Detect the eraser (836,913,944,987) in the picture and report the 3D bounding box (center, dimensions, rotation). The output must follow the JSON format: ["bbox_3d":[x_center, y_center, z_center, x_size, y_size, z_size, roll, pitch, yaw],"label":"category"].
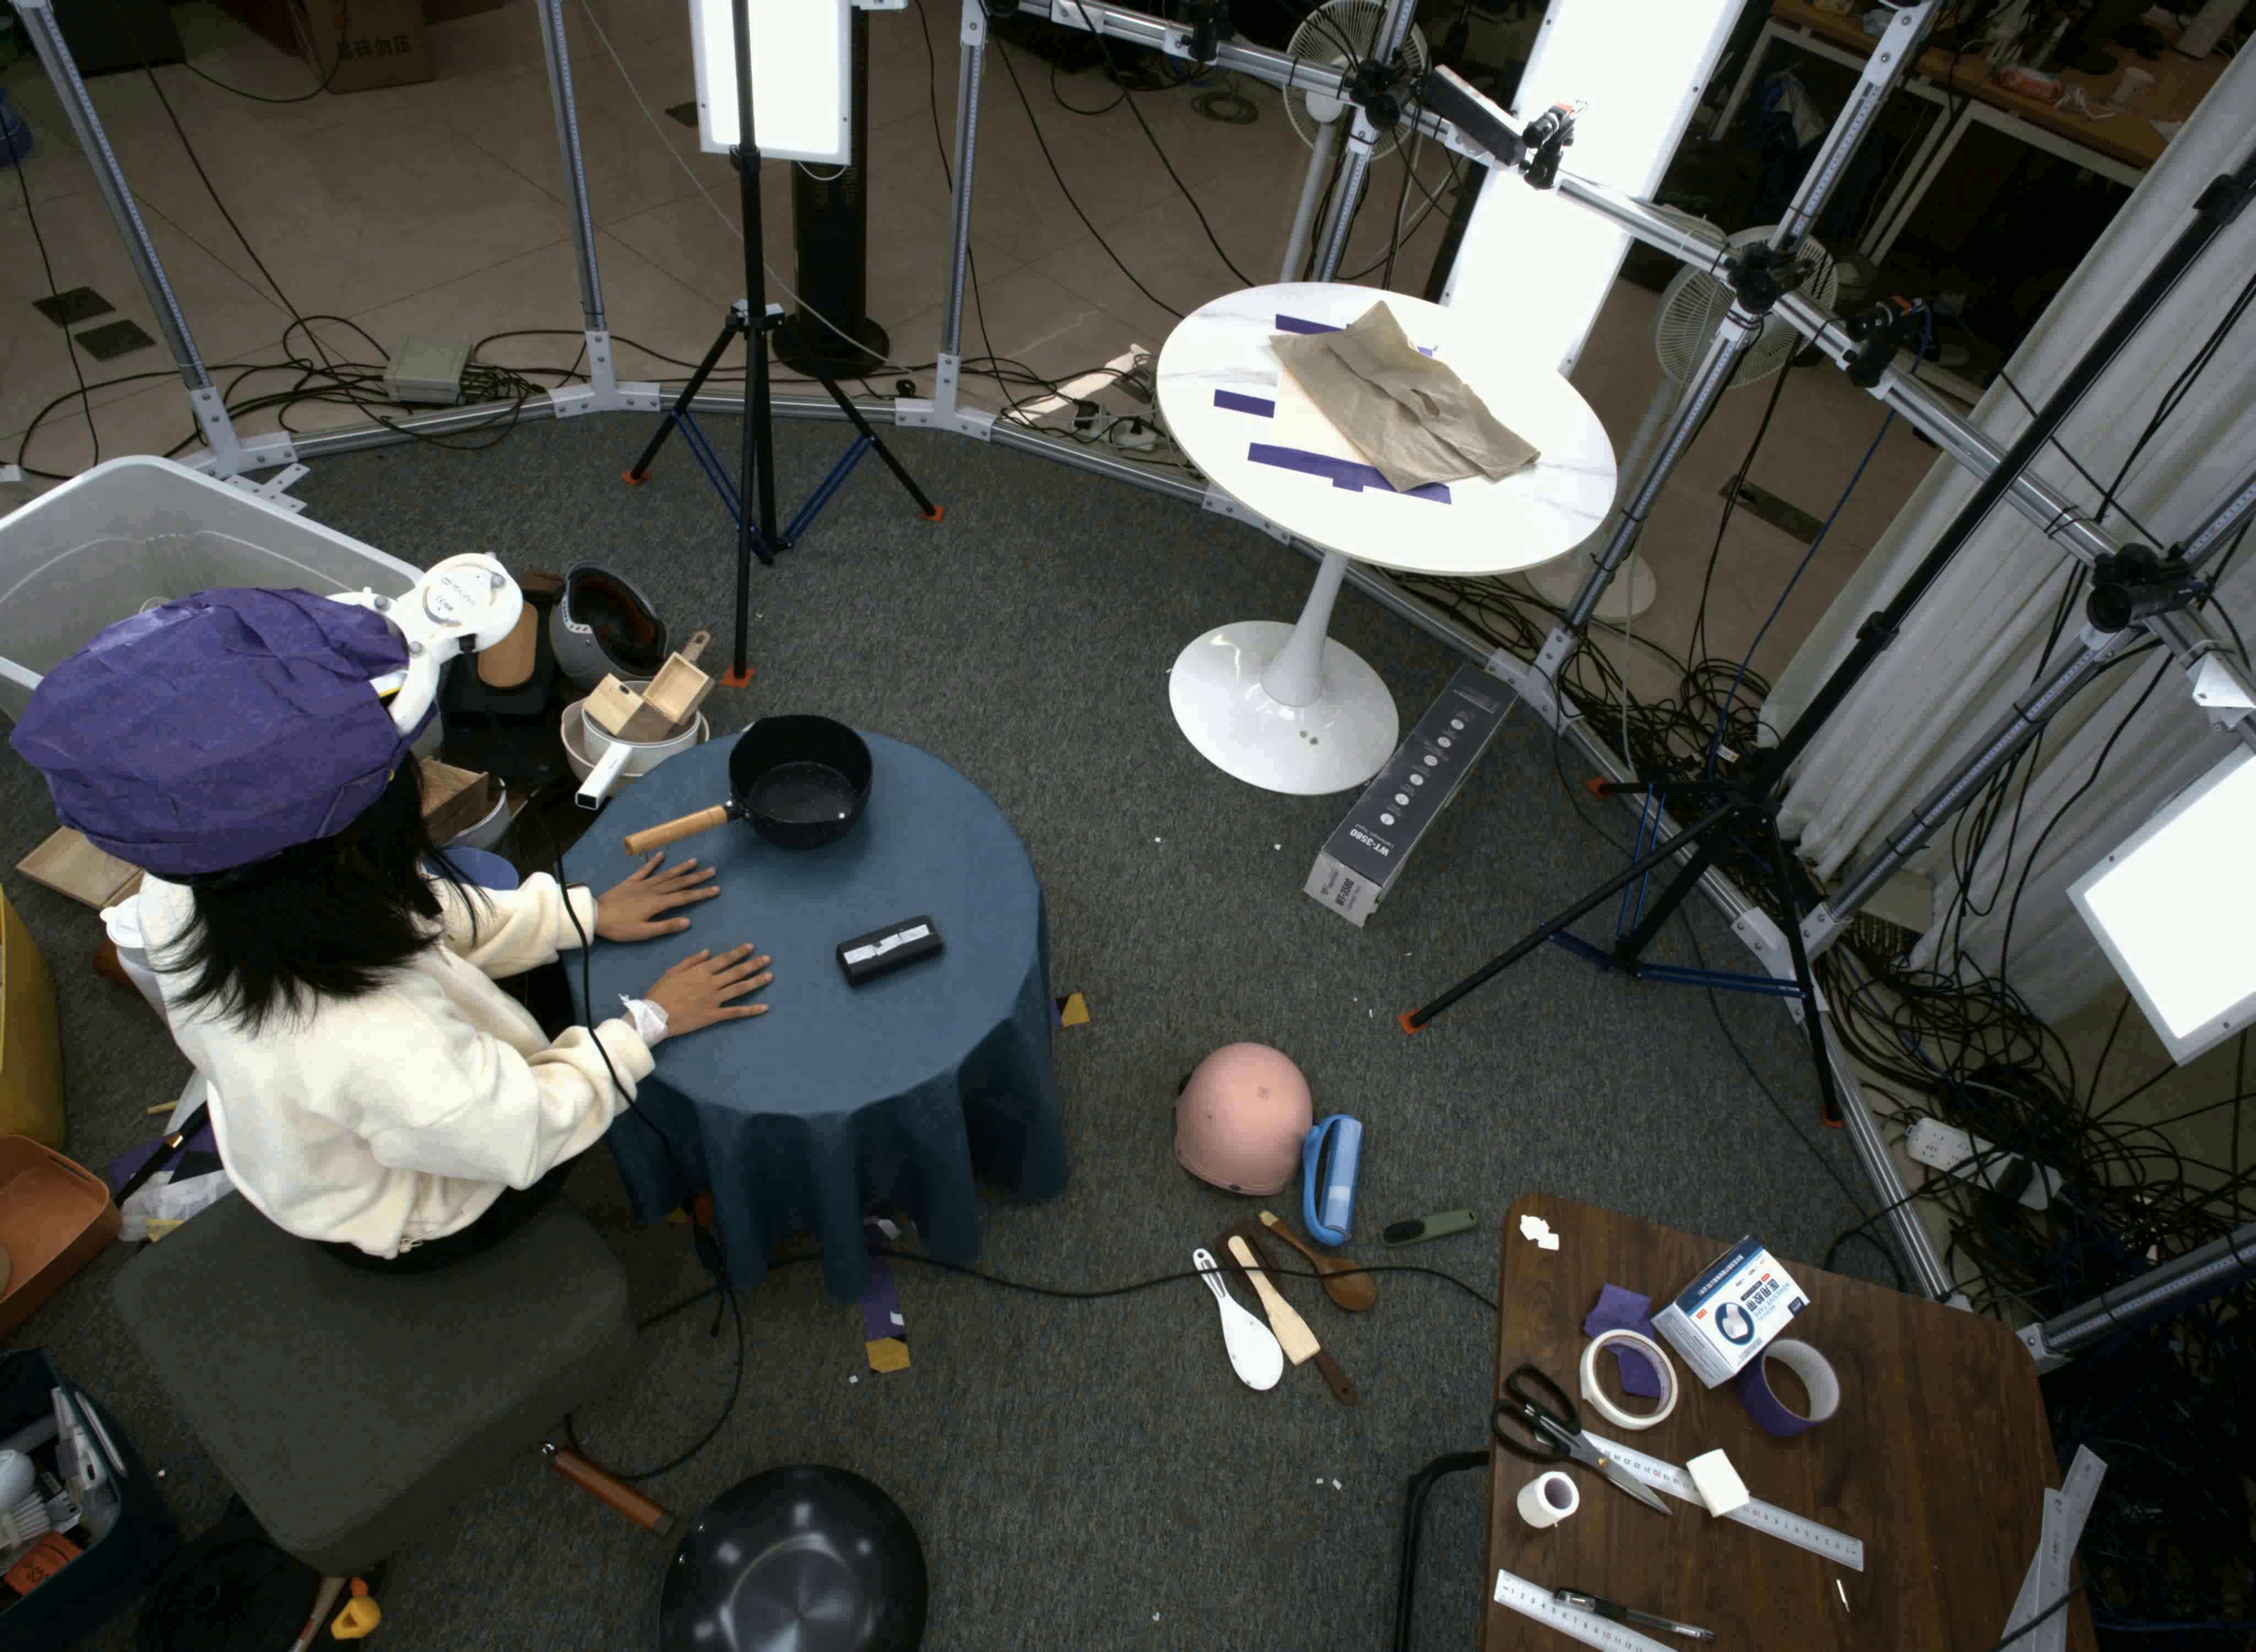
[{"bbox_3d":[-0.296,0.151,1.622,0.126,0.031,0.052,-20,60,-25],"label":"eraser"}]

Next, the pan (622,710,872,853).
[{"bbox_3d":[-0.486,-0.025,1.651,0.344,0.110,0.203,-33,68,-34],"label":"pan"}]
